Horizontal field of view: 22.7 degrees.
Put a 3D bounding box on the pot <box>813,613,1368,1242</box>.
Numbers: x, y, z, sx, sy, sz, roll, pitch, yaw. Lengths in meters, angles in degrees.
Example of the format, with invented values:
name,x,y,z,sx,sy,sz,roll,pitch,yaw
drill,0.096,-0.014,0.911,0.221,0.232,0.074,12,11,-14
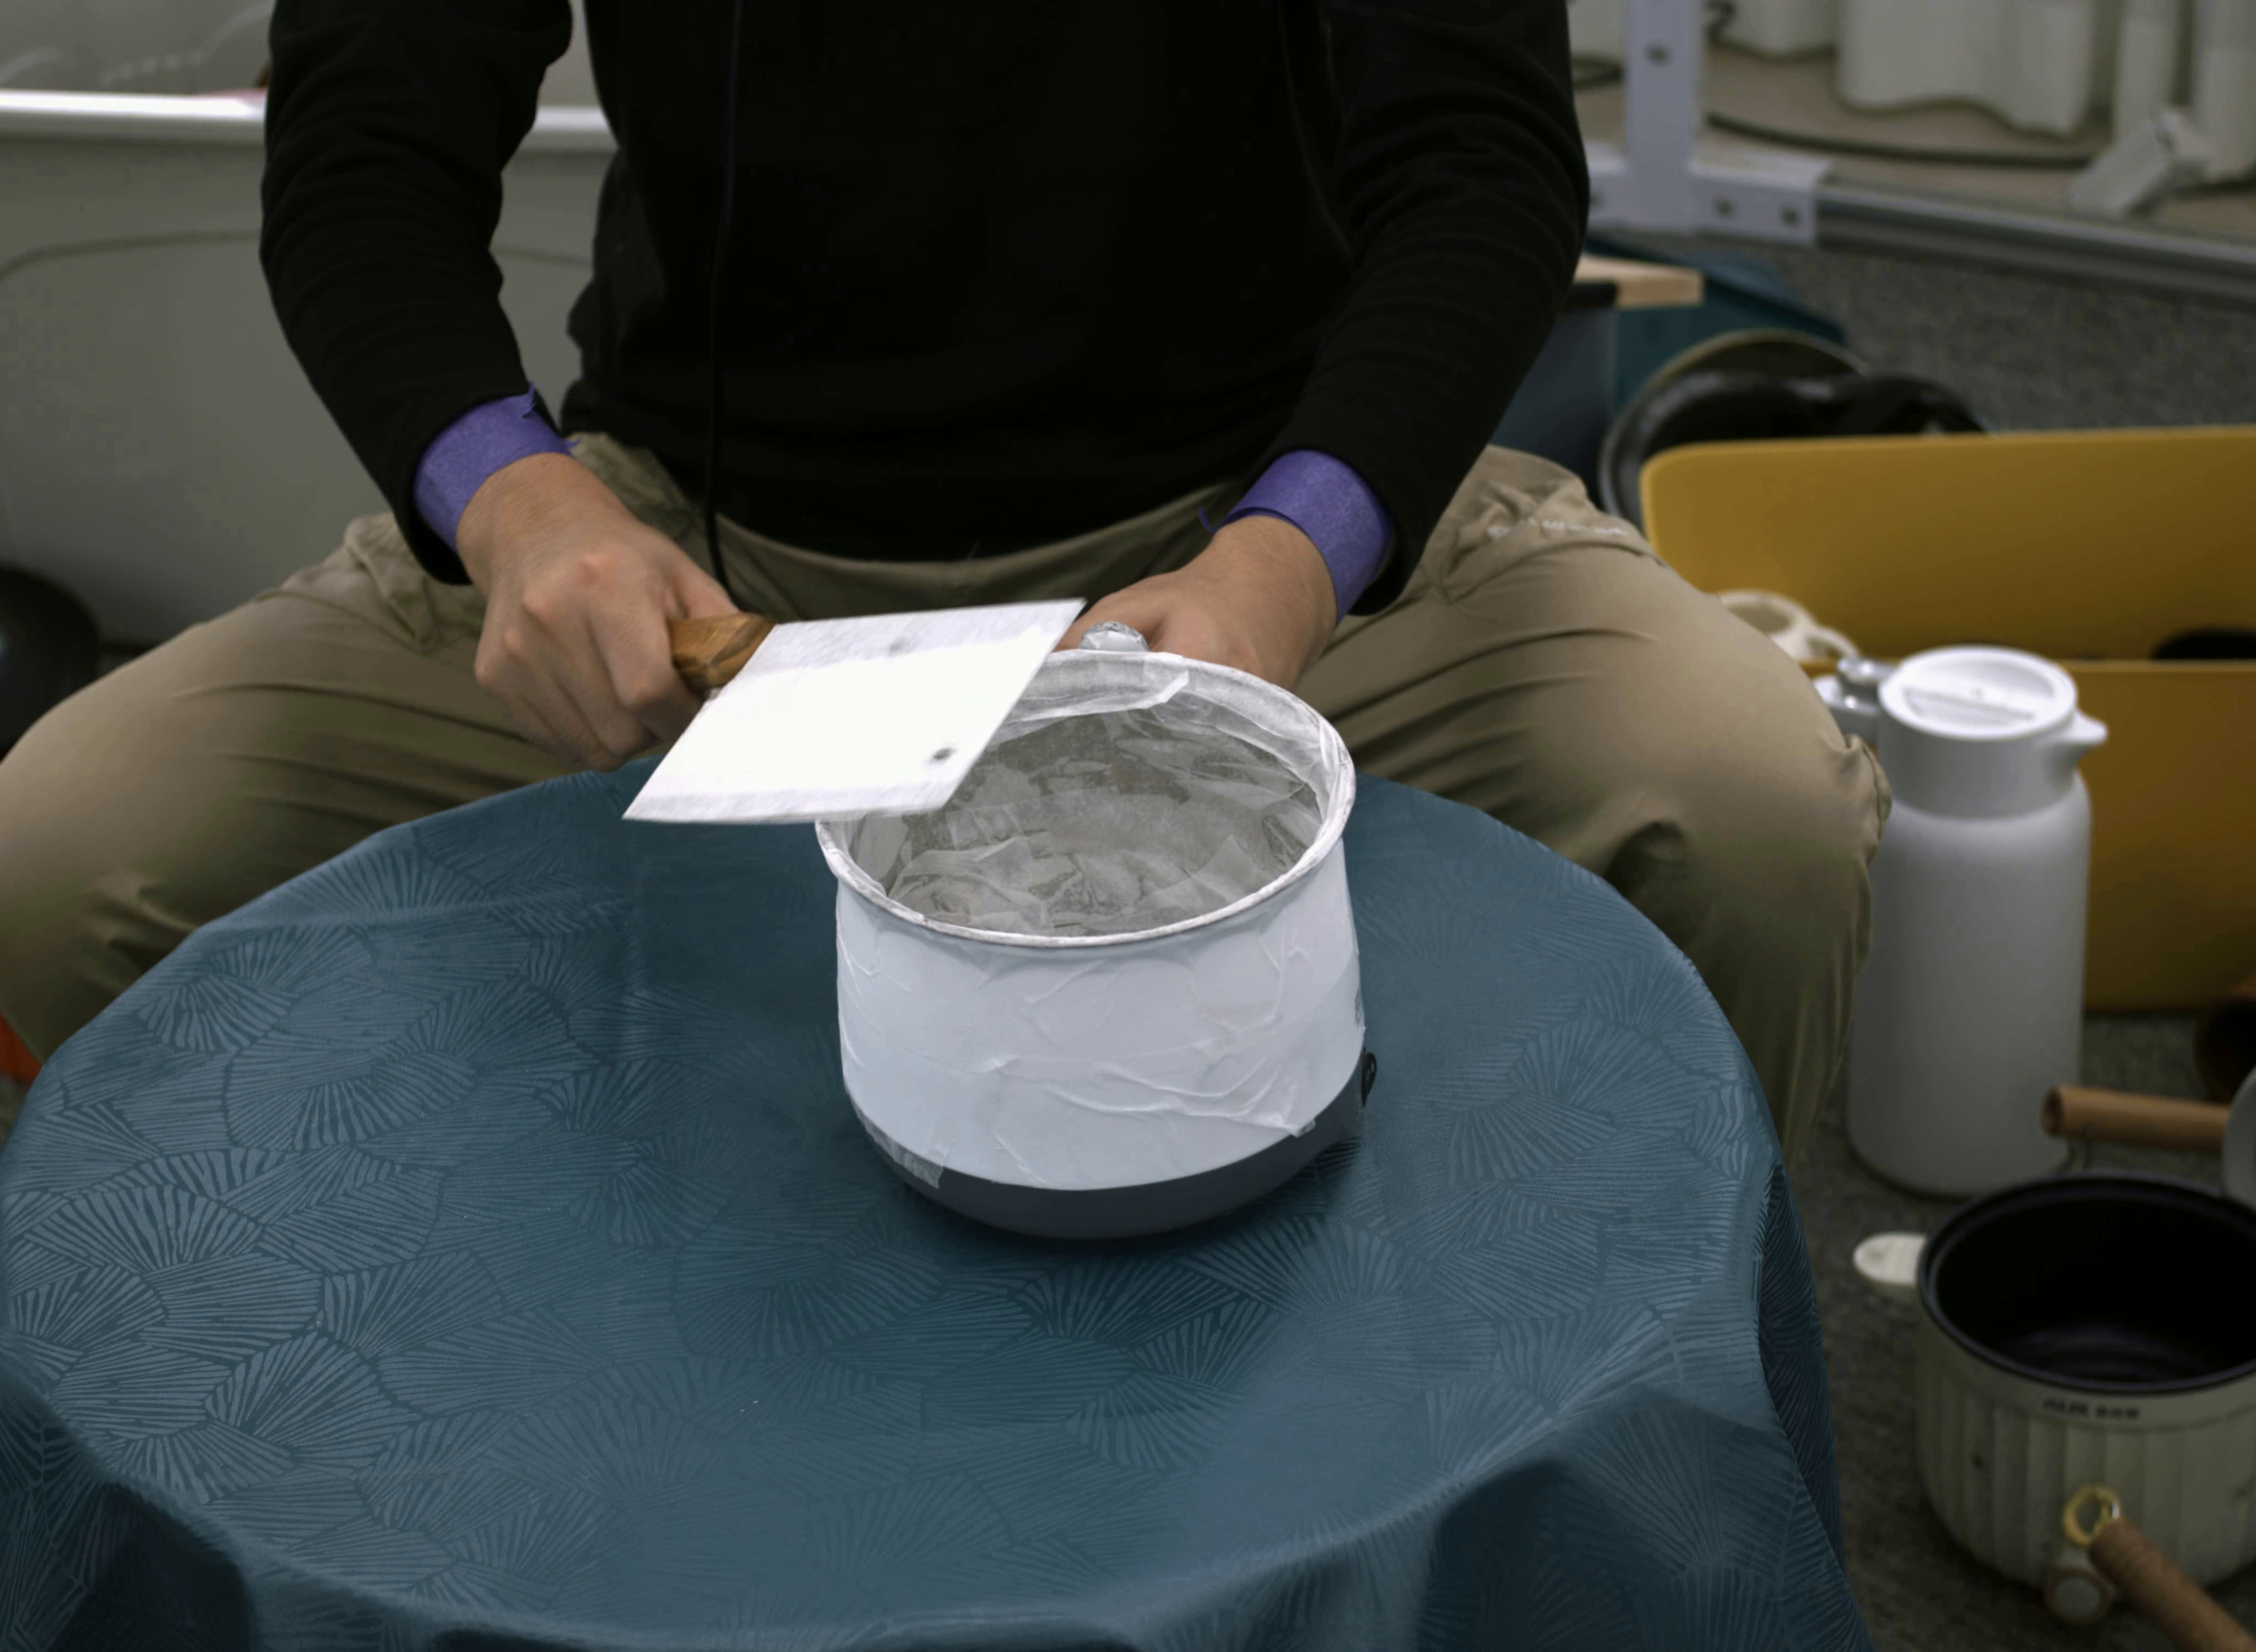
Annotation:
name,x,y,z,sx,sy,sz,roll,pitch,yaw
pot,-0.009,0.025,1.881,0.178,0.135,0.238,-1,33,4

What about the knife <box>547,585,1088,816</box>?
name,x,y,z,sx,sy,sz,roll,pitch,yaw
knife,-0.123,-0.039,1.911,0.303,0.021,0.094,-4,42,53
